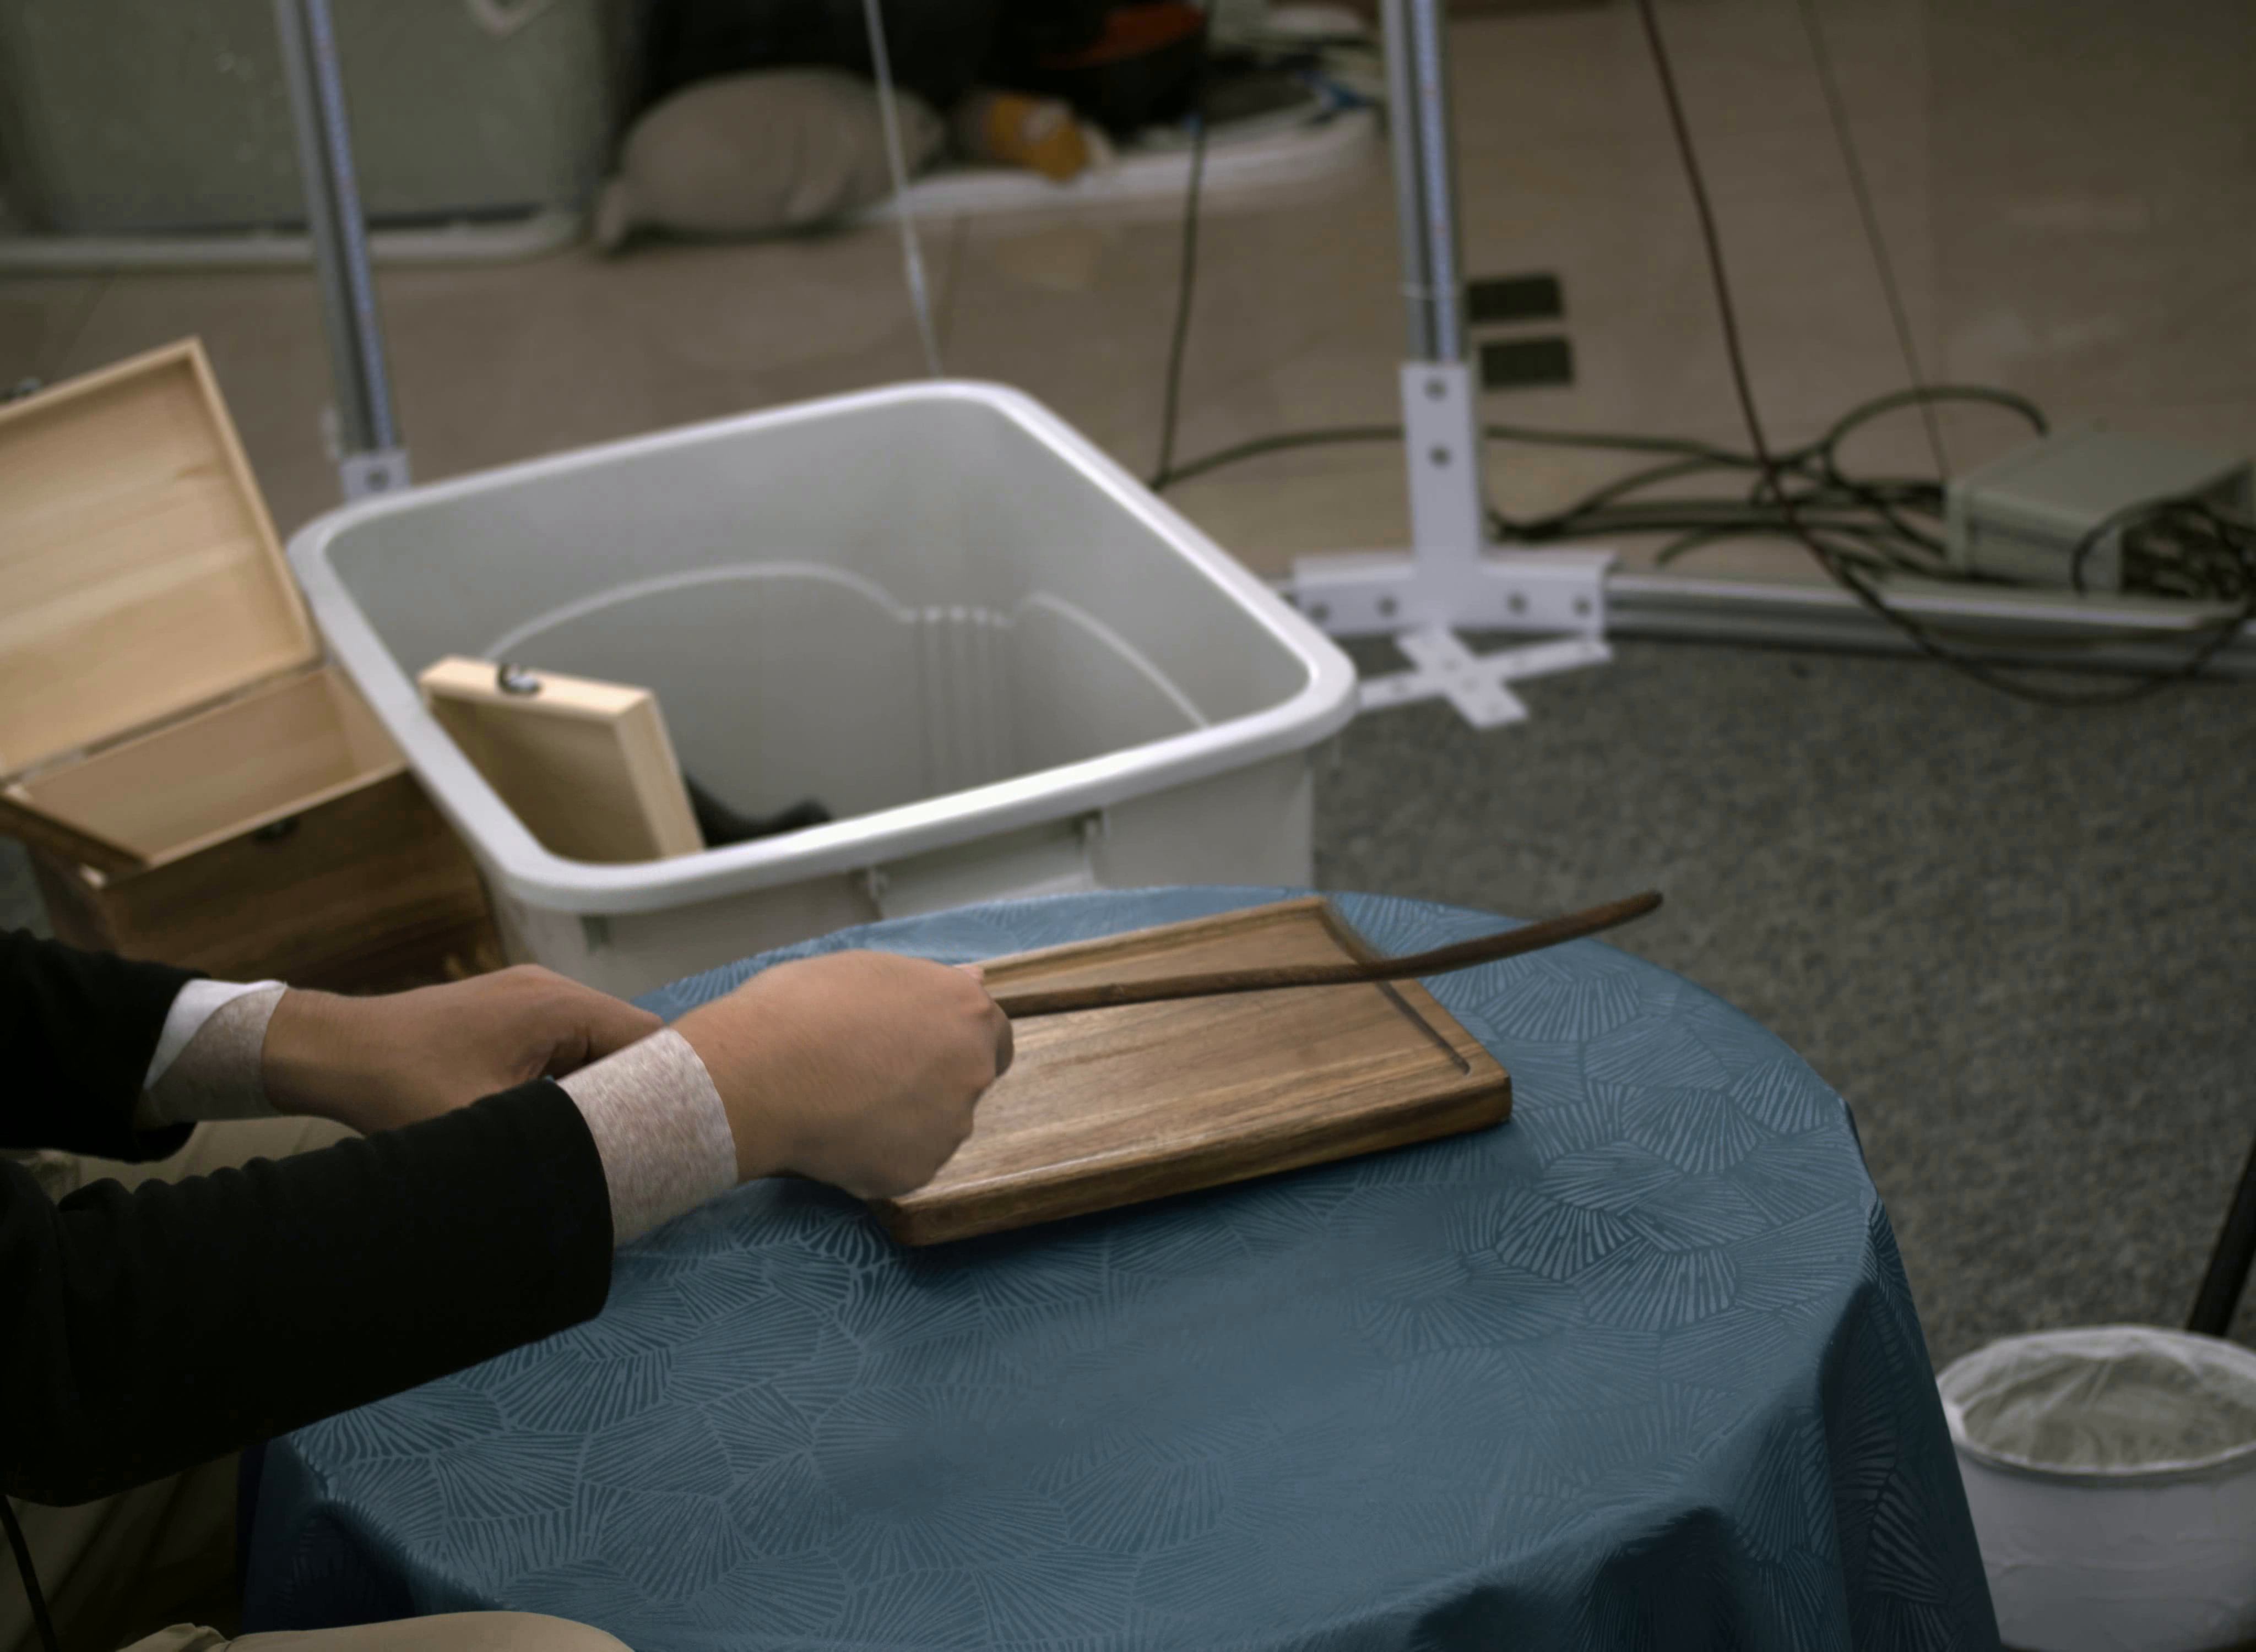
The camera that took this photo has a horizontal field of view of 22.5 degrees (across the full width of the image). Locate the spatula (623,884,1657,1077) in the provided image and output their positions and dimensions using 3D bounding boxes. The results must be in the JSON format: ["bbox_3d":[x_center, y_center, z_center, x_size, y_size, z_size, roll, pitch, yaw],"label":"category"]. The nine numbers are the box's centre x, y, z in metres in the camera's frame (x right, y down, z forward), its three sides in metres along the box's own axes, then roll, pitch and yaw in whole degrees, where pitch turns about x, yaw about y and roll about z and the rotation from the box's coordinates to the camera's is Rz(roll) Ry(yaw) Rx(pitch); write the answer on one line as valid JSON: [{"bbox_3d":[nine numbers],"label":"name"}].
[{"bbox_3d":[0.006,0.056,2.019,0.385,0.016,0.096,-7,-8,-18],"label":"spatula"}]

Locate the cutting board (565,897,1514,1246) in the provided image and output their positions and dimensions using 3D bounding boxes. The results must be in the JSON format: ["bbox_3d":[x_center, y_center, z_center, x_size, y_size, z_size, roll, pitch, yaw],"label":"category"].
[{"bbox_3d":[-0.048,0.101,2.195,0.351,0.023,0.198,-11,25,-17],"label":"cutting board"}]
